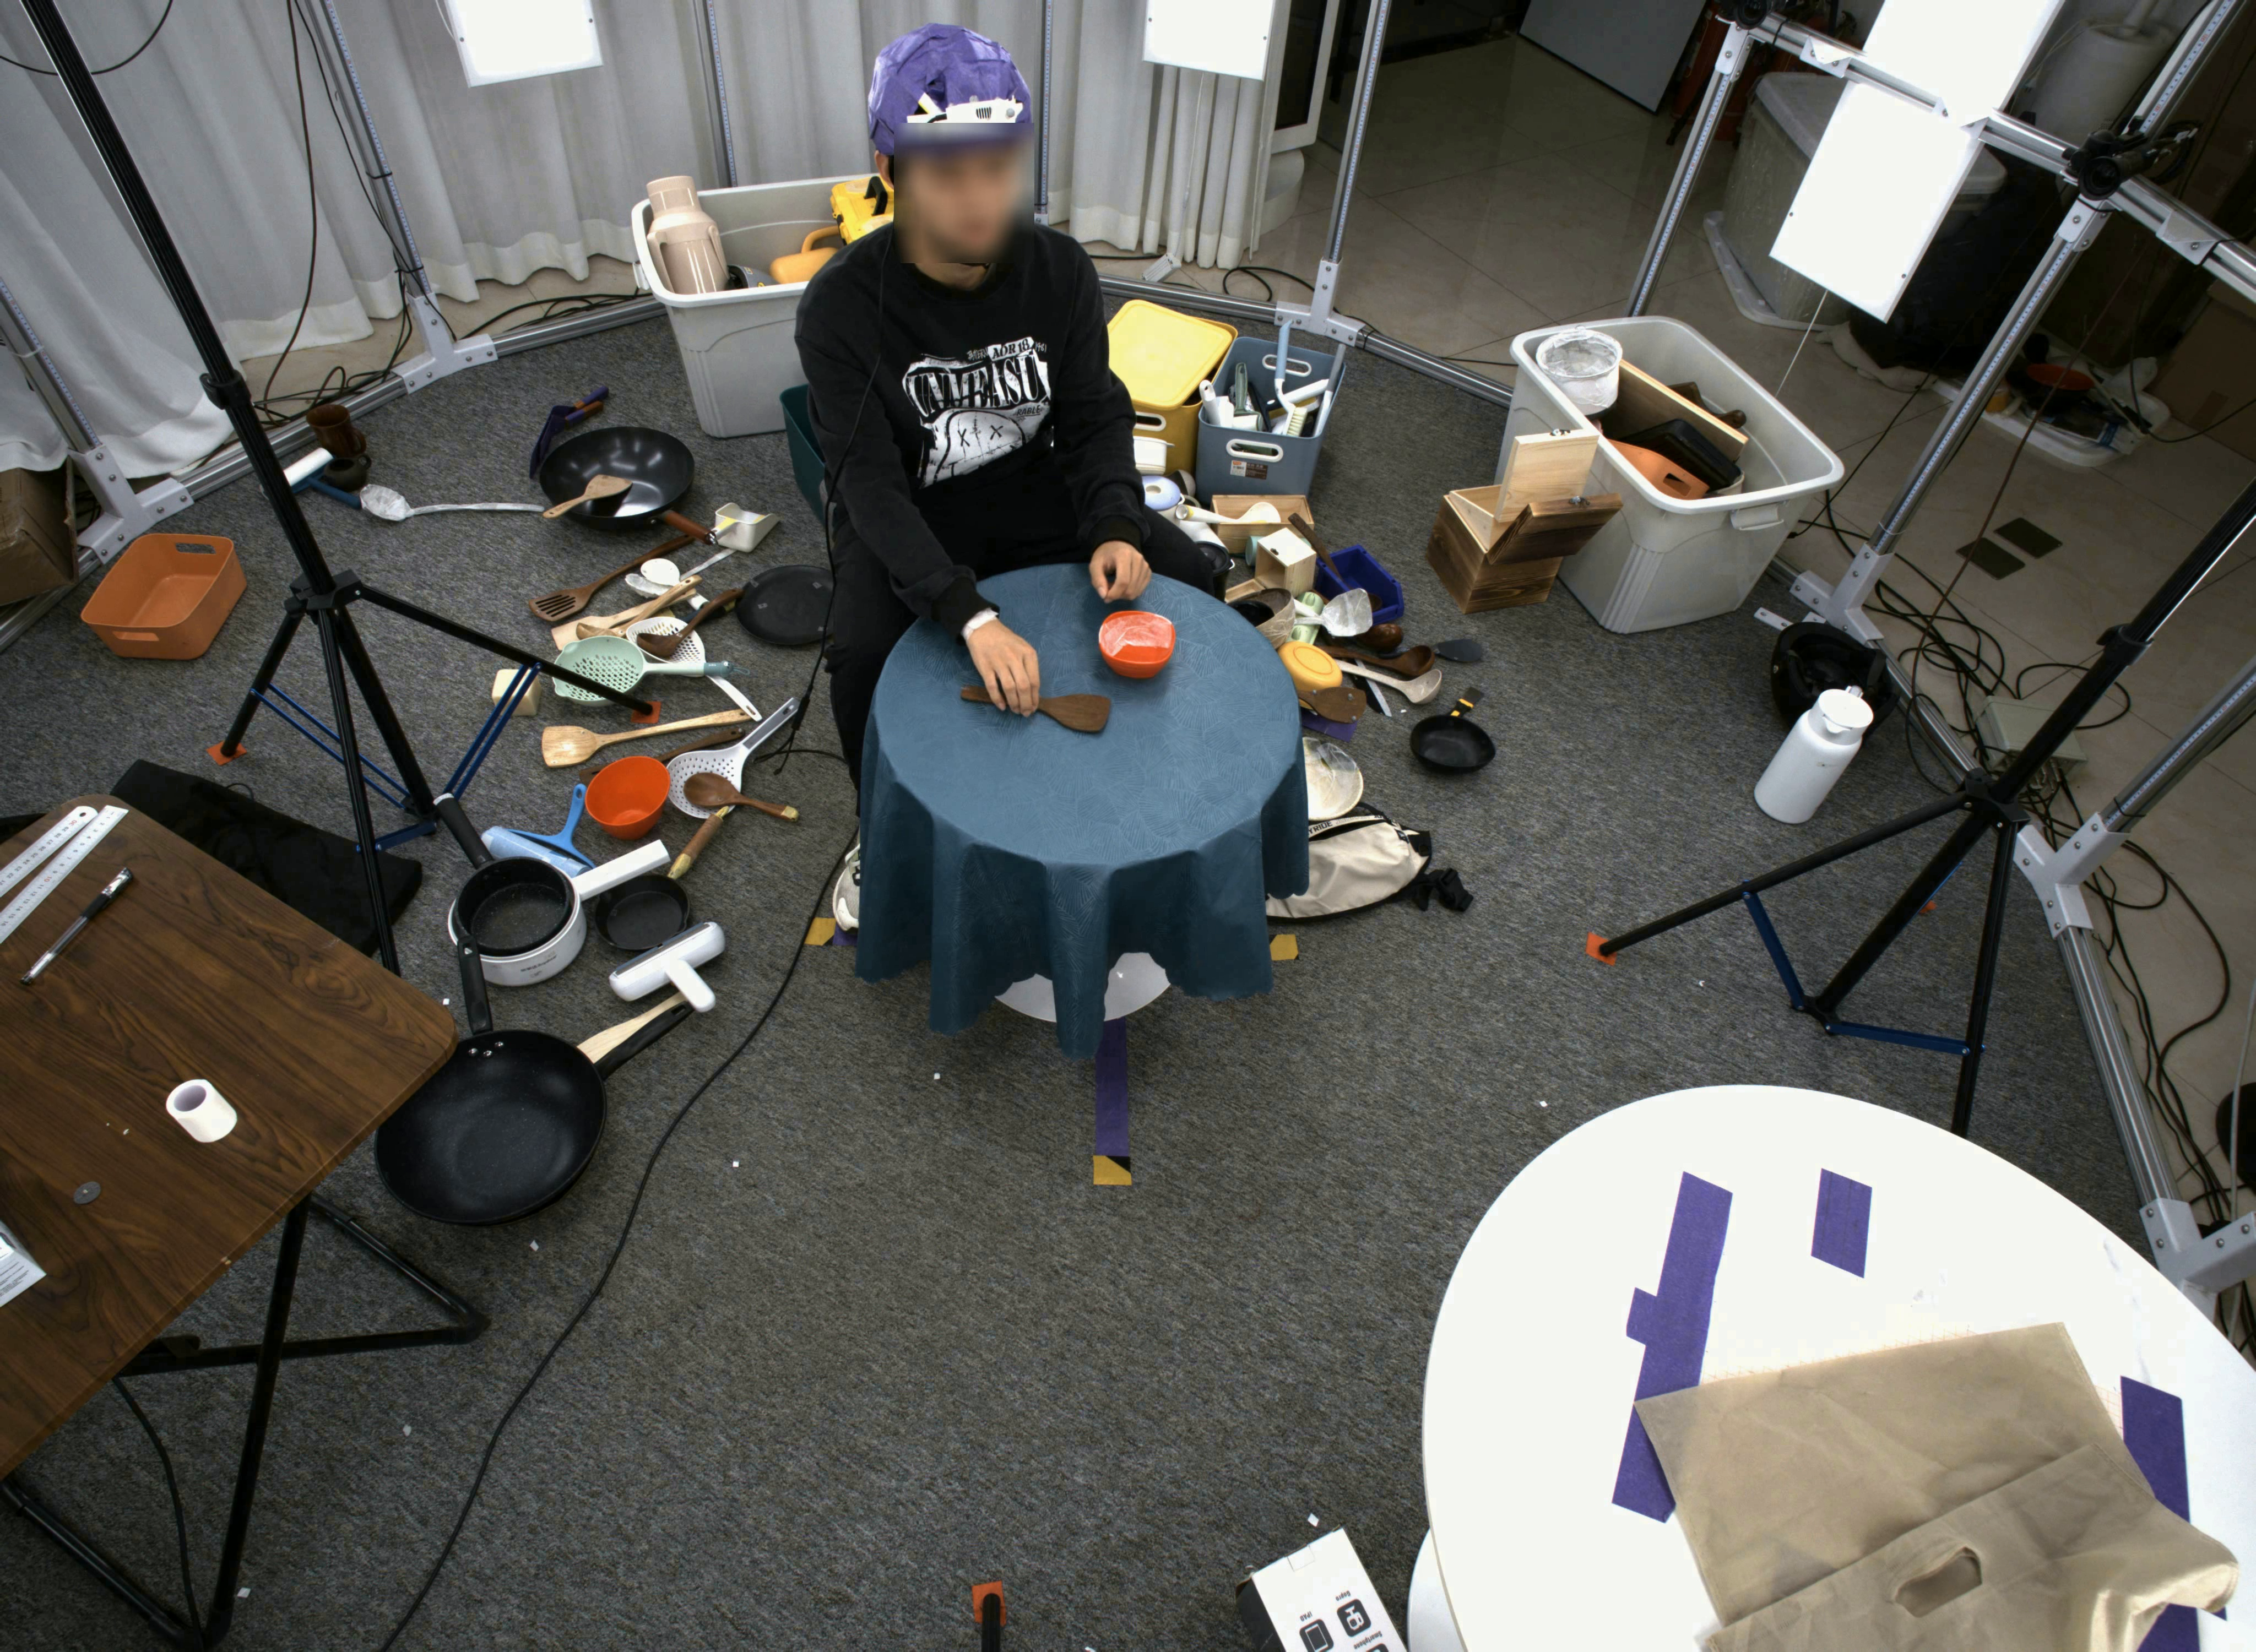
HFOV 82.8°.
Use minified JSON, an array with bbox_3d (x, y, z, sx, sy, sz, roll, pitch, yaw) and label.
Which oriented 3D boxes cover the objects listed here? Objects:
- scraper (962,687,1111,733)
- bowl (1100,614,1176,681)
[{"bbox_3d":[-0.130,-0.171,1.819,0.211,0.010,0.077,10,47,5],"label":"scraper"},{"bbox_3d":[0.013,-0.255,1.876,0.119,0.050,0.122,2,50,-2],"label":"bowl"}]
